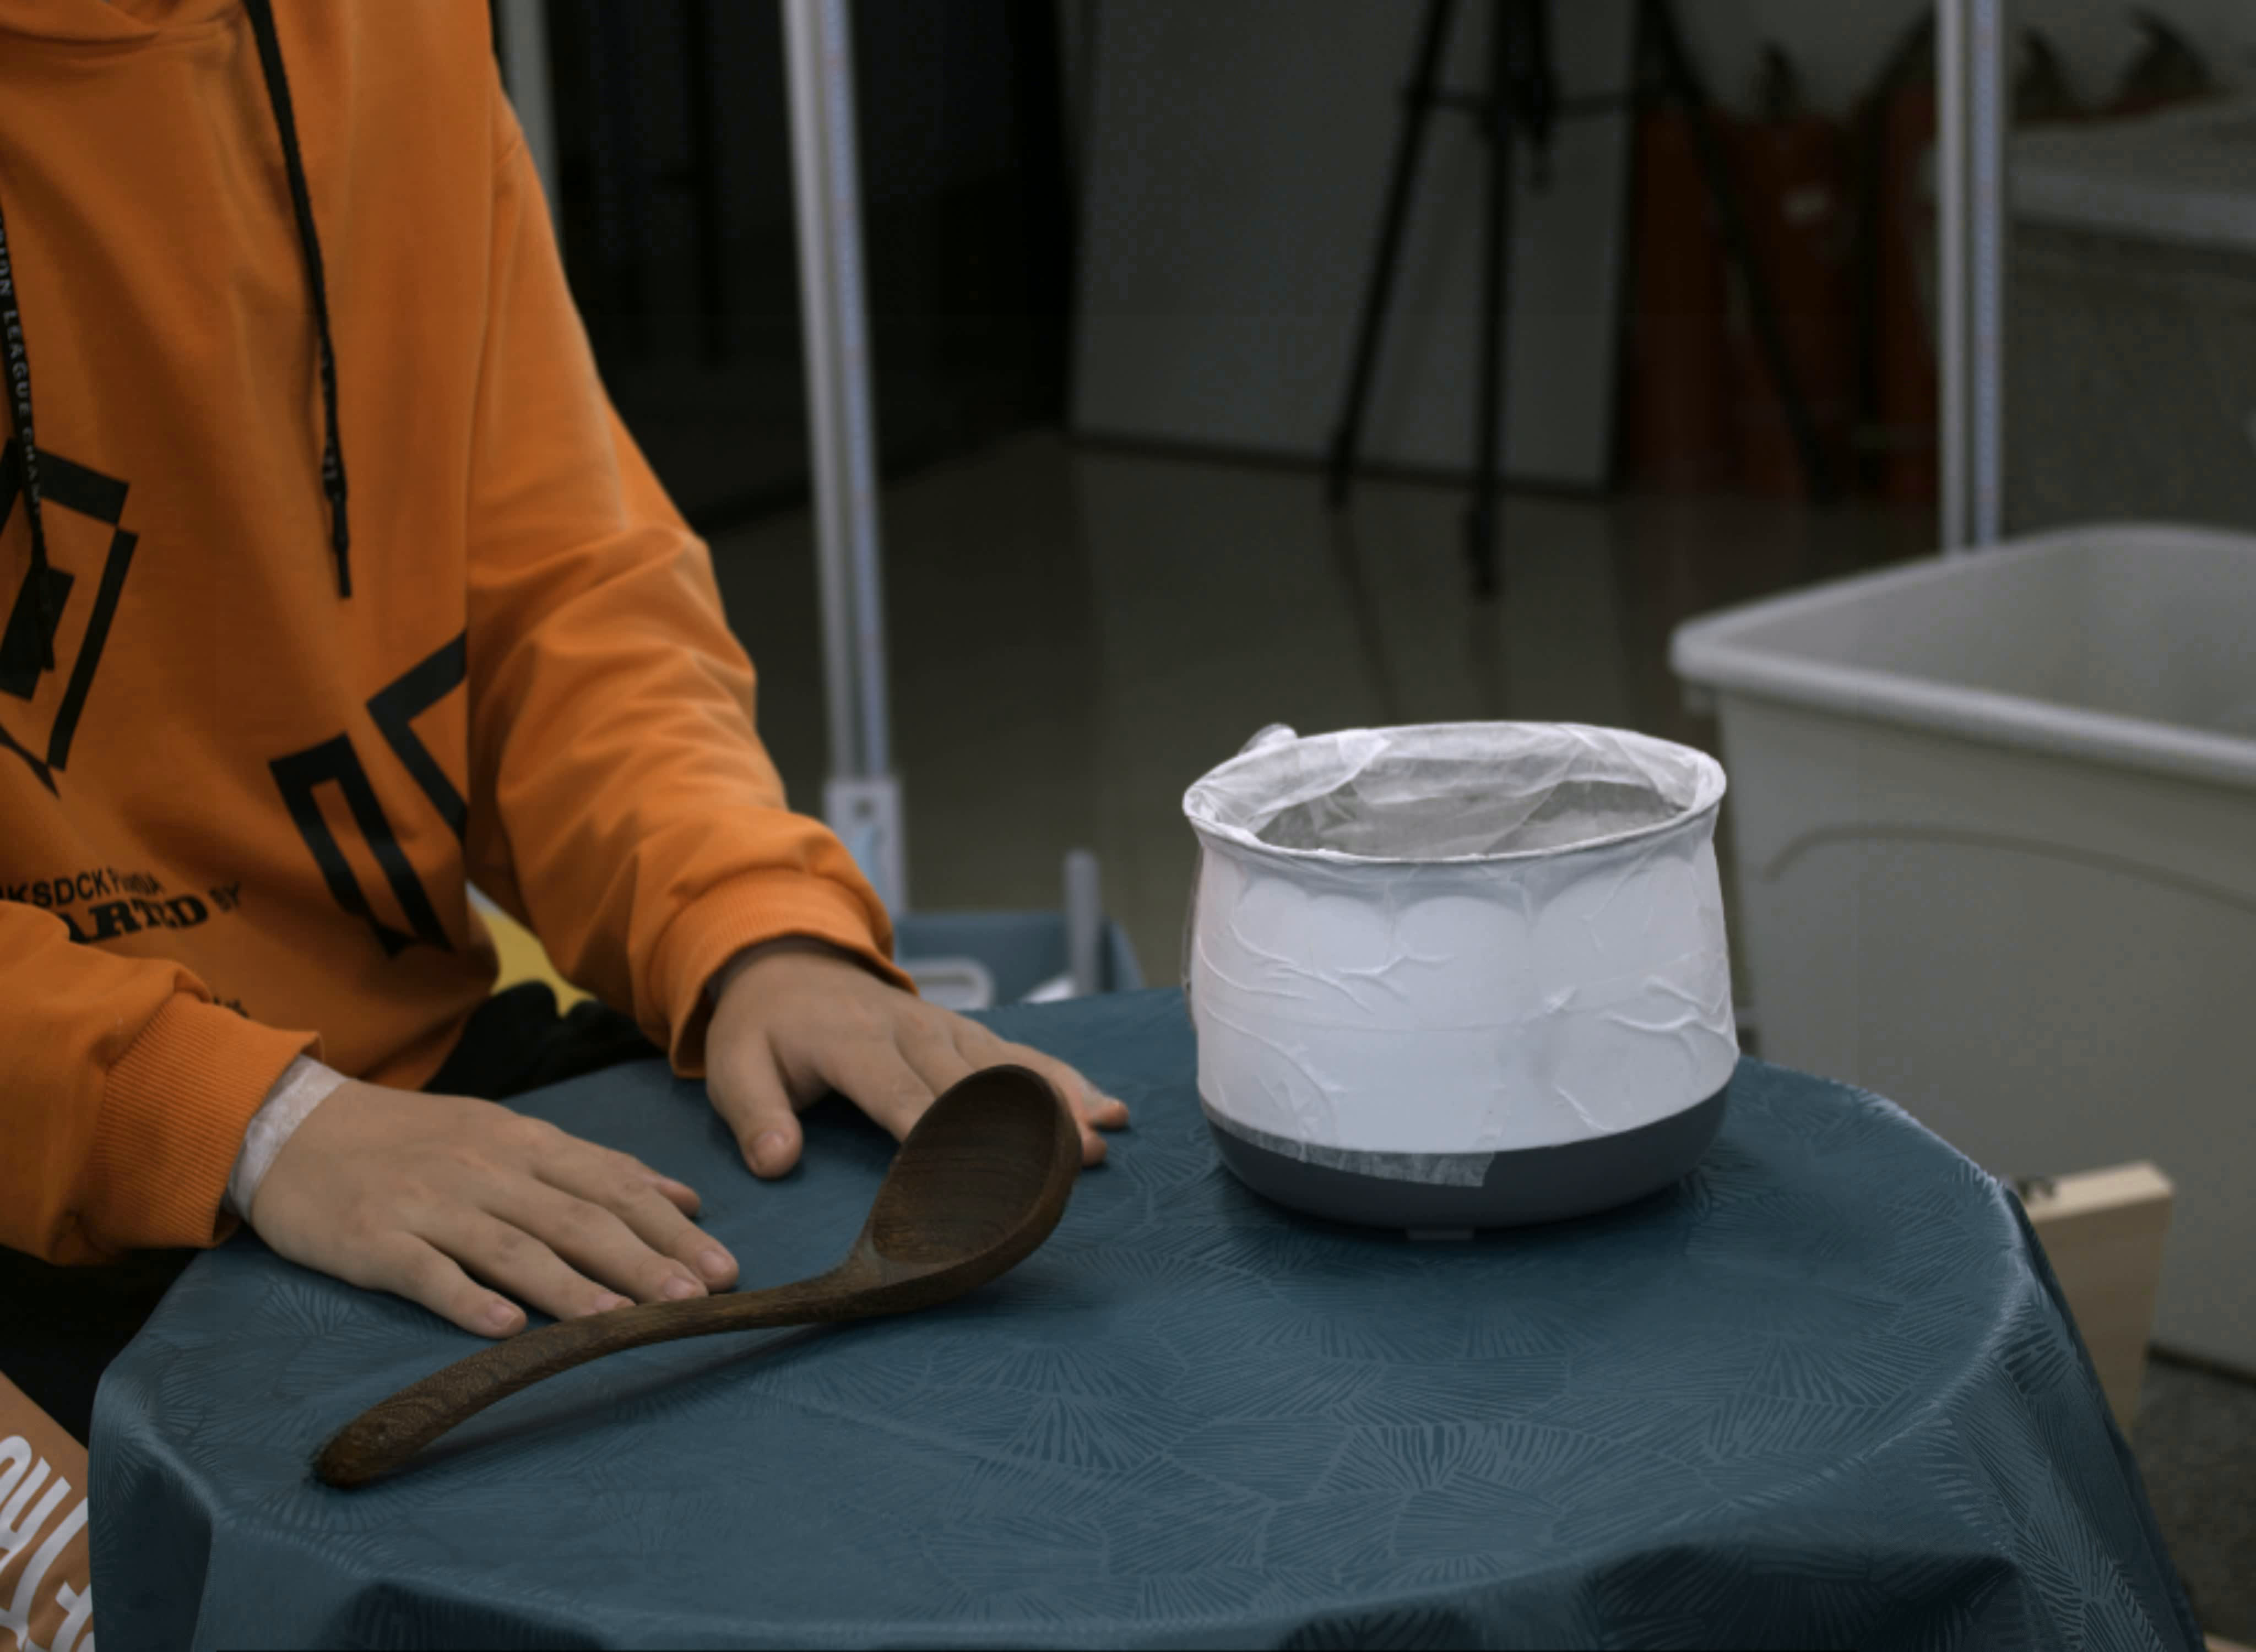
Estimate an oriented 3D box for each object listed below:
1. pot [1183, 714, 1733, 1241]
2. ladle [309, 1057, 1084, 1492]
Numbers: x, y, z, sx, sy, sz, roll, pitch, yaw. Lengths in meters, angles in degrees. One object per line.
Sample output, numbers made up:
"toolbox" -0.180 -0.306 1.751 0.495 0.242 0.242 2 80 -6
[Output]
"pot" 0.092 0.043 1.771 0.175 0.138 0.236 -12 16 -33
"ladle" -0.128 0.131 1.623 0.268 0.072 0.077 -14 14 -36
